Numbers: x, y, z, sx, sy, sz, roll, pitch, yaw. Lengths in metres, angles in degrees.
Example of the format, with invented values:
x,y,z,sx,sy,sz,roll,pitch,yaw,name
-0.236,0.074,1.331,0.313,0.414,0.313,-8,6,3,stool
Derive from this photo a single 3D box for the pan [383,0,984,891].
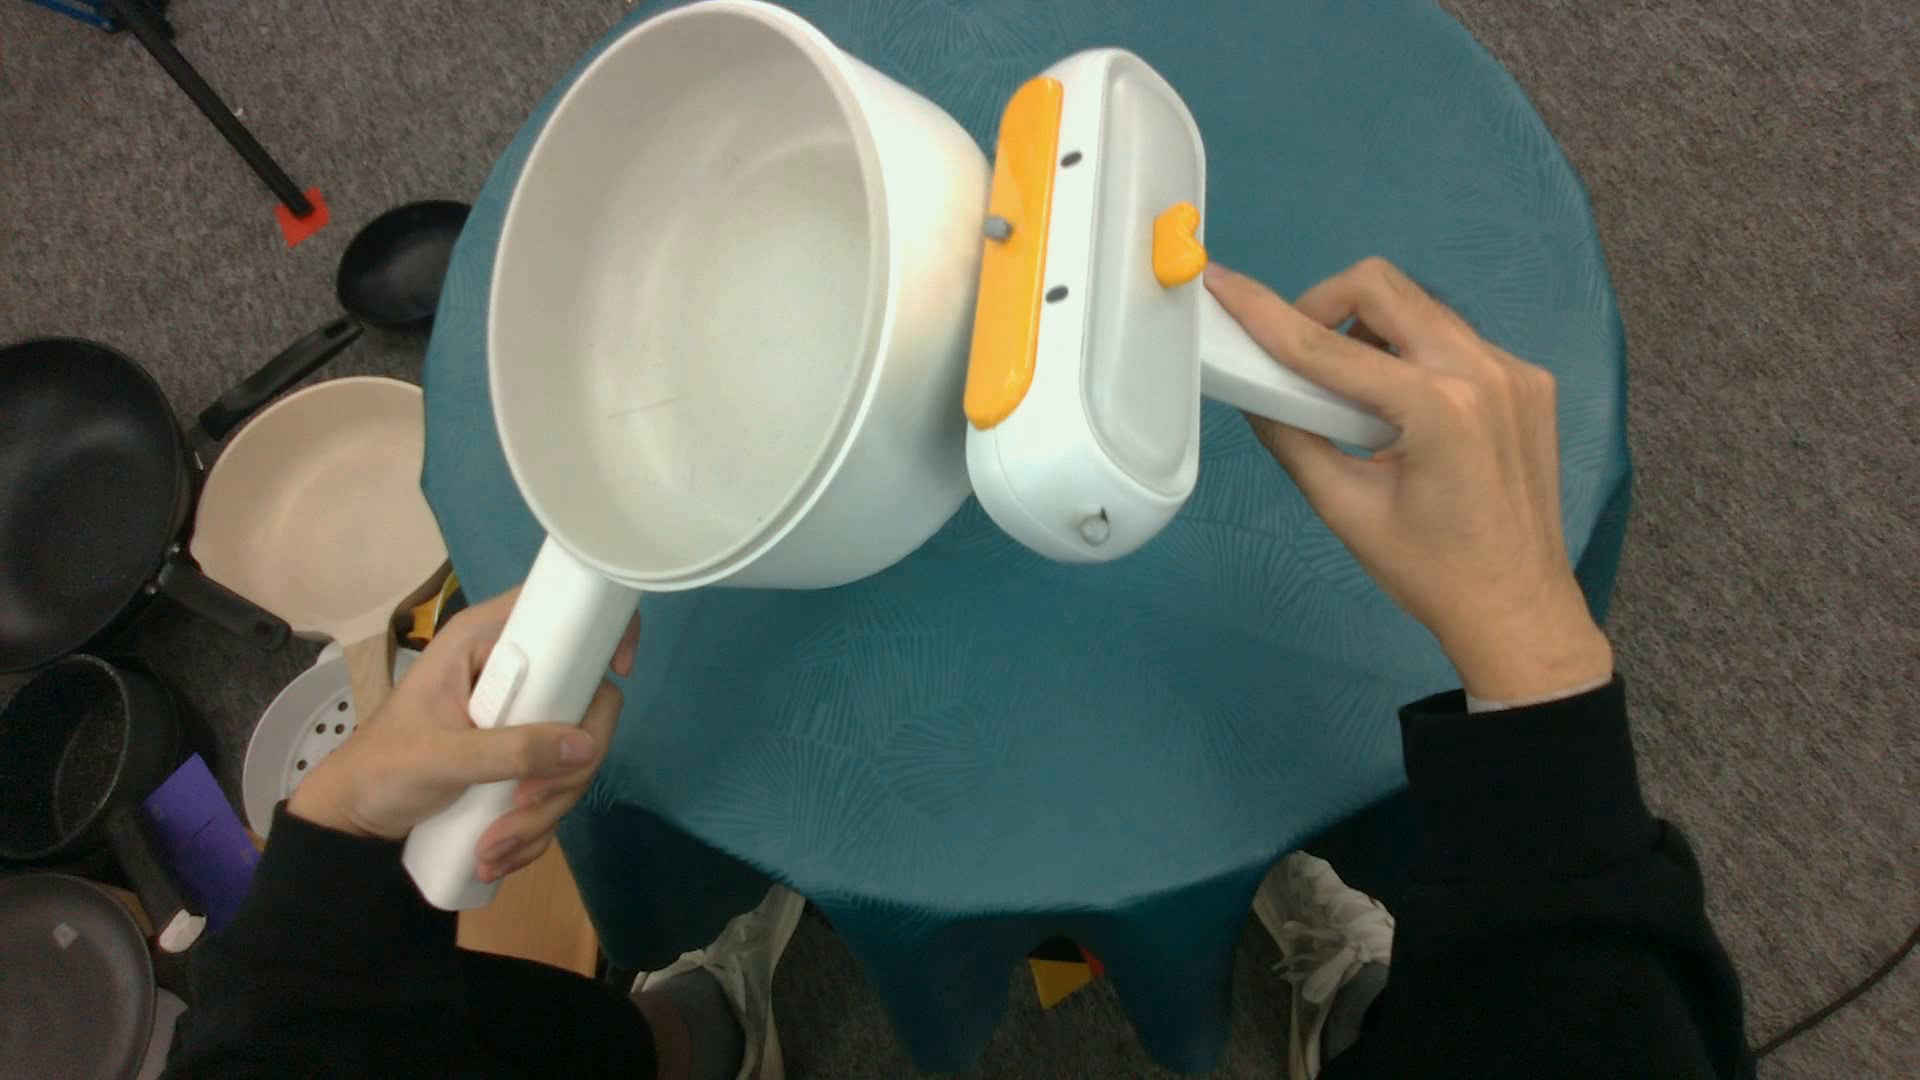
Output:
x,y,z,sx,sy,sz,roll,pitch,yaw,name
-0.110,-0.020,0.526,0.201,0.102,0.354,37,108,33,pan

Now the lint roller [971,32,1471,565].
x,y,z,sx,sy,sz,roll,pitch,yaw,name
0.091,-0.070,0.469,0.192,0.074,0.193,20,51,-29,lint roller
